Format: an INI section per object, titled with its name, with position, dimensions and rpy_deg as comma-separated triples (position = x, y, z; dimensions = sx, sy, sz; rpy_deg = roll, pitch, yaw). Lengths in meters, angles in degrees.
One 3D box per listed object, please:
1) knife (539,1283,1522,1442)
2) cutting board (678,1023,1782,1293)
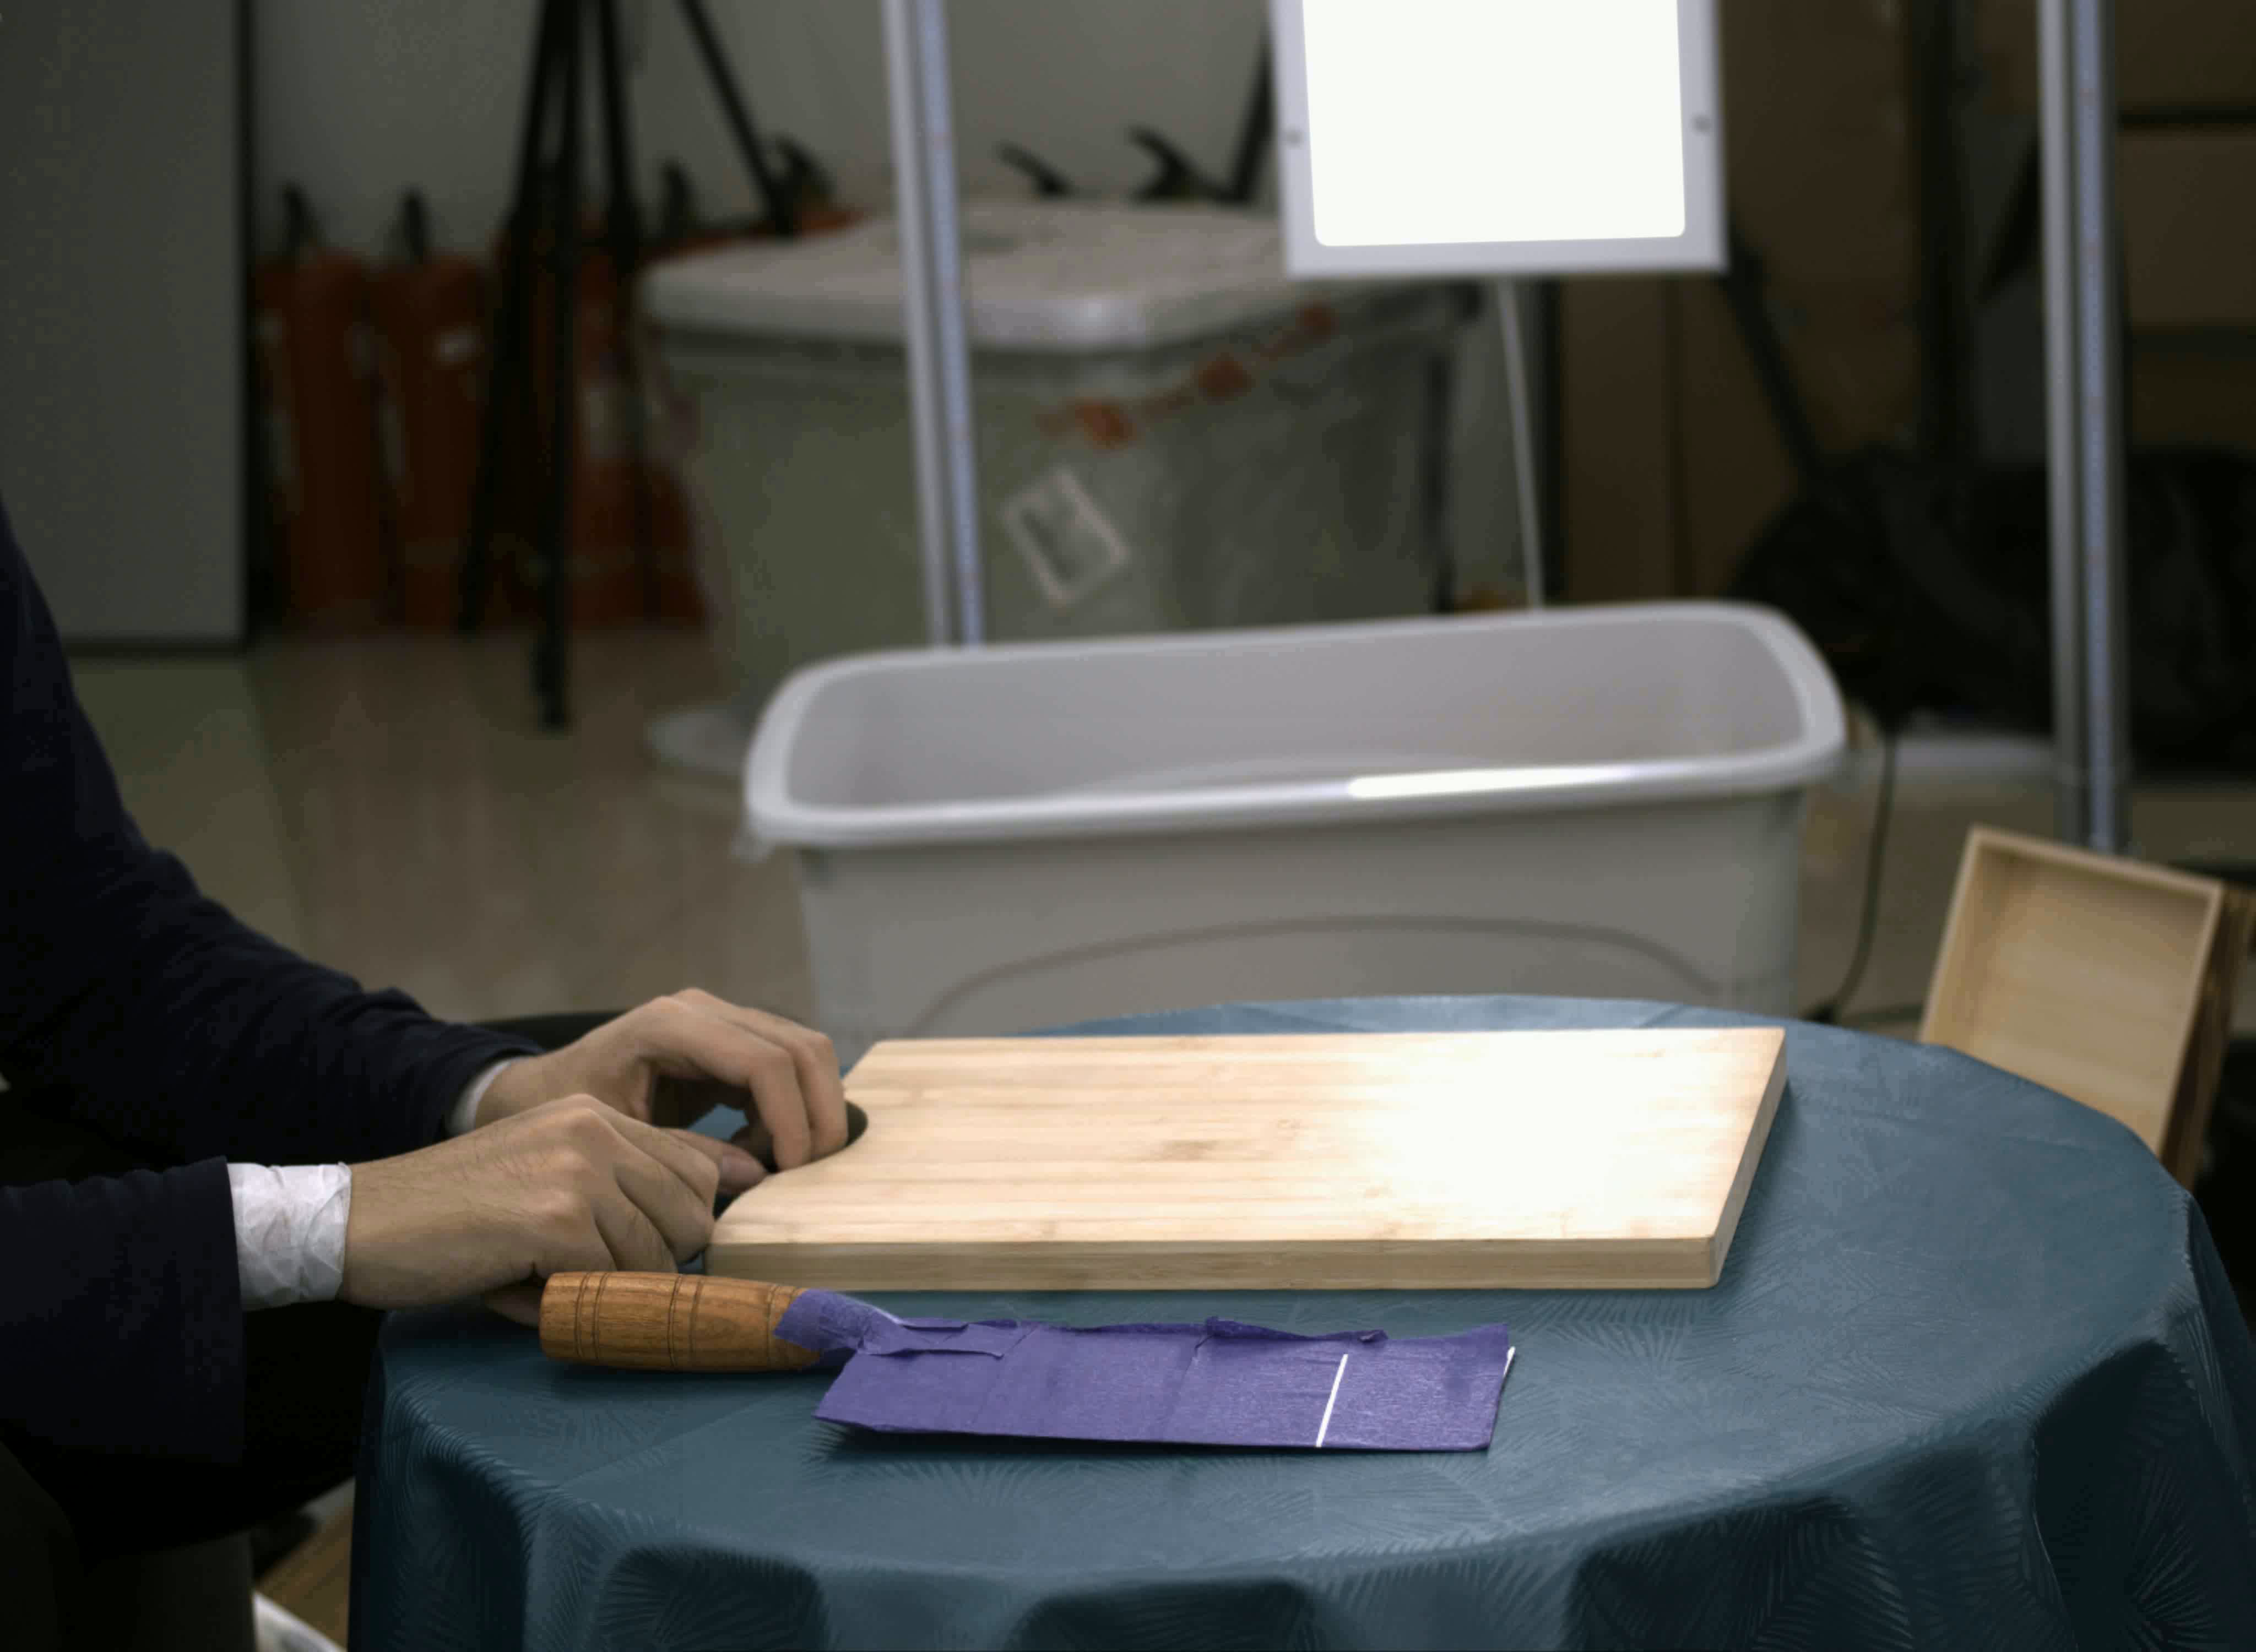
[knife]
position = -0.037, 0.166, 1.701
dimensions = 0.318, 0.032, 0.102
rpy_deg = -2, 14, 13
[cutting board]
position = 0.043, 0.114, 1.905
dimensions = 0.352, 0.023, 0.247
rpy_deg = -2, 14, 14
